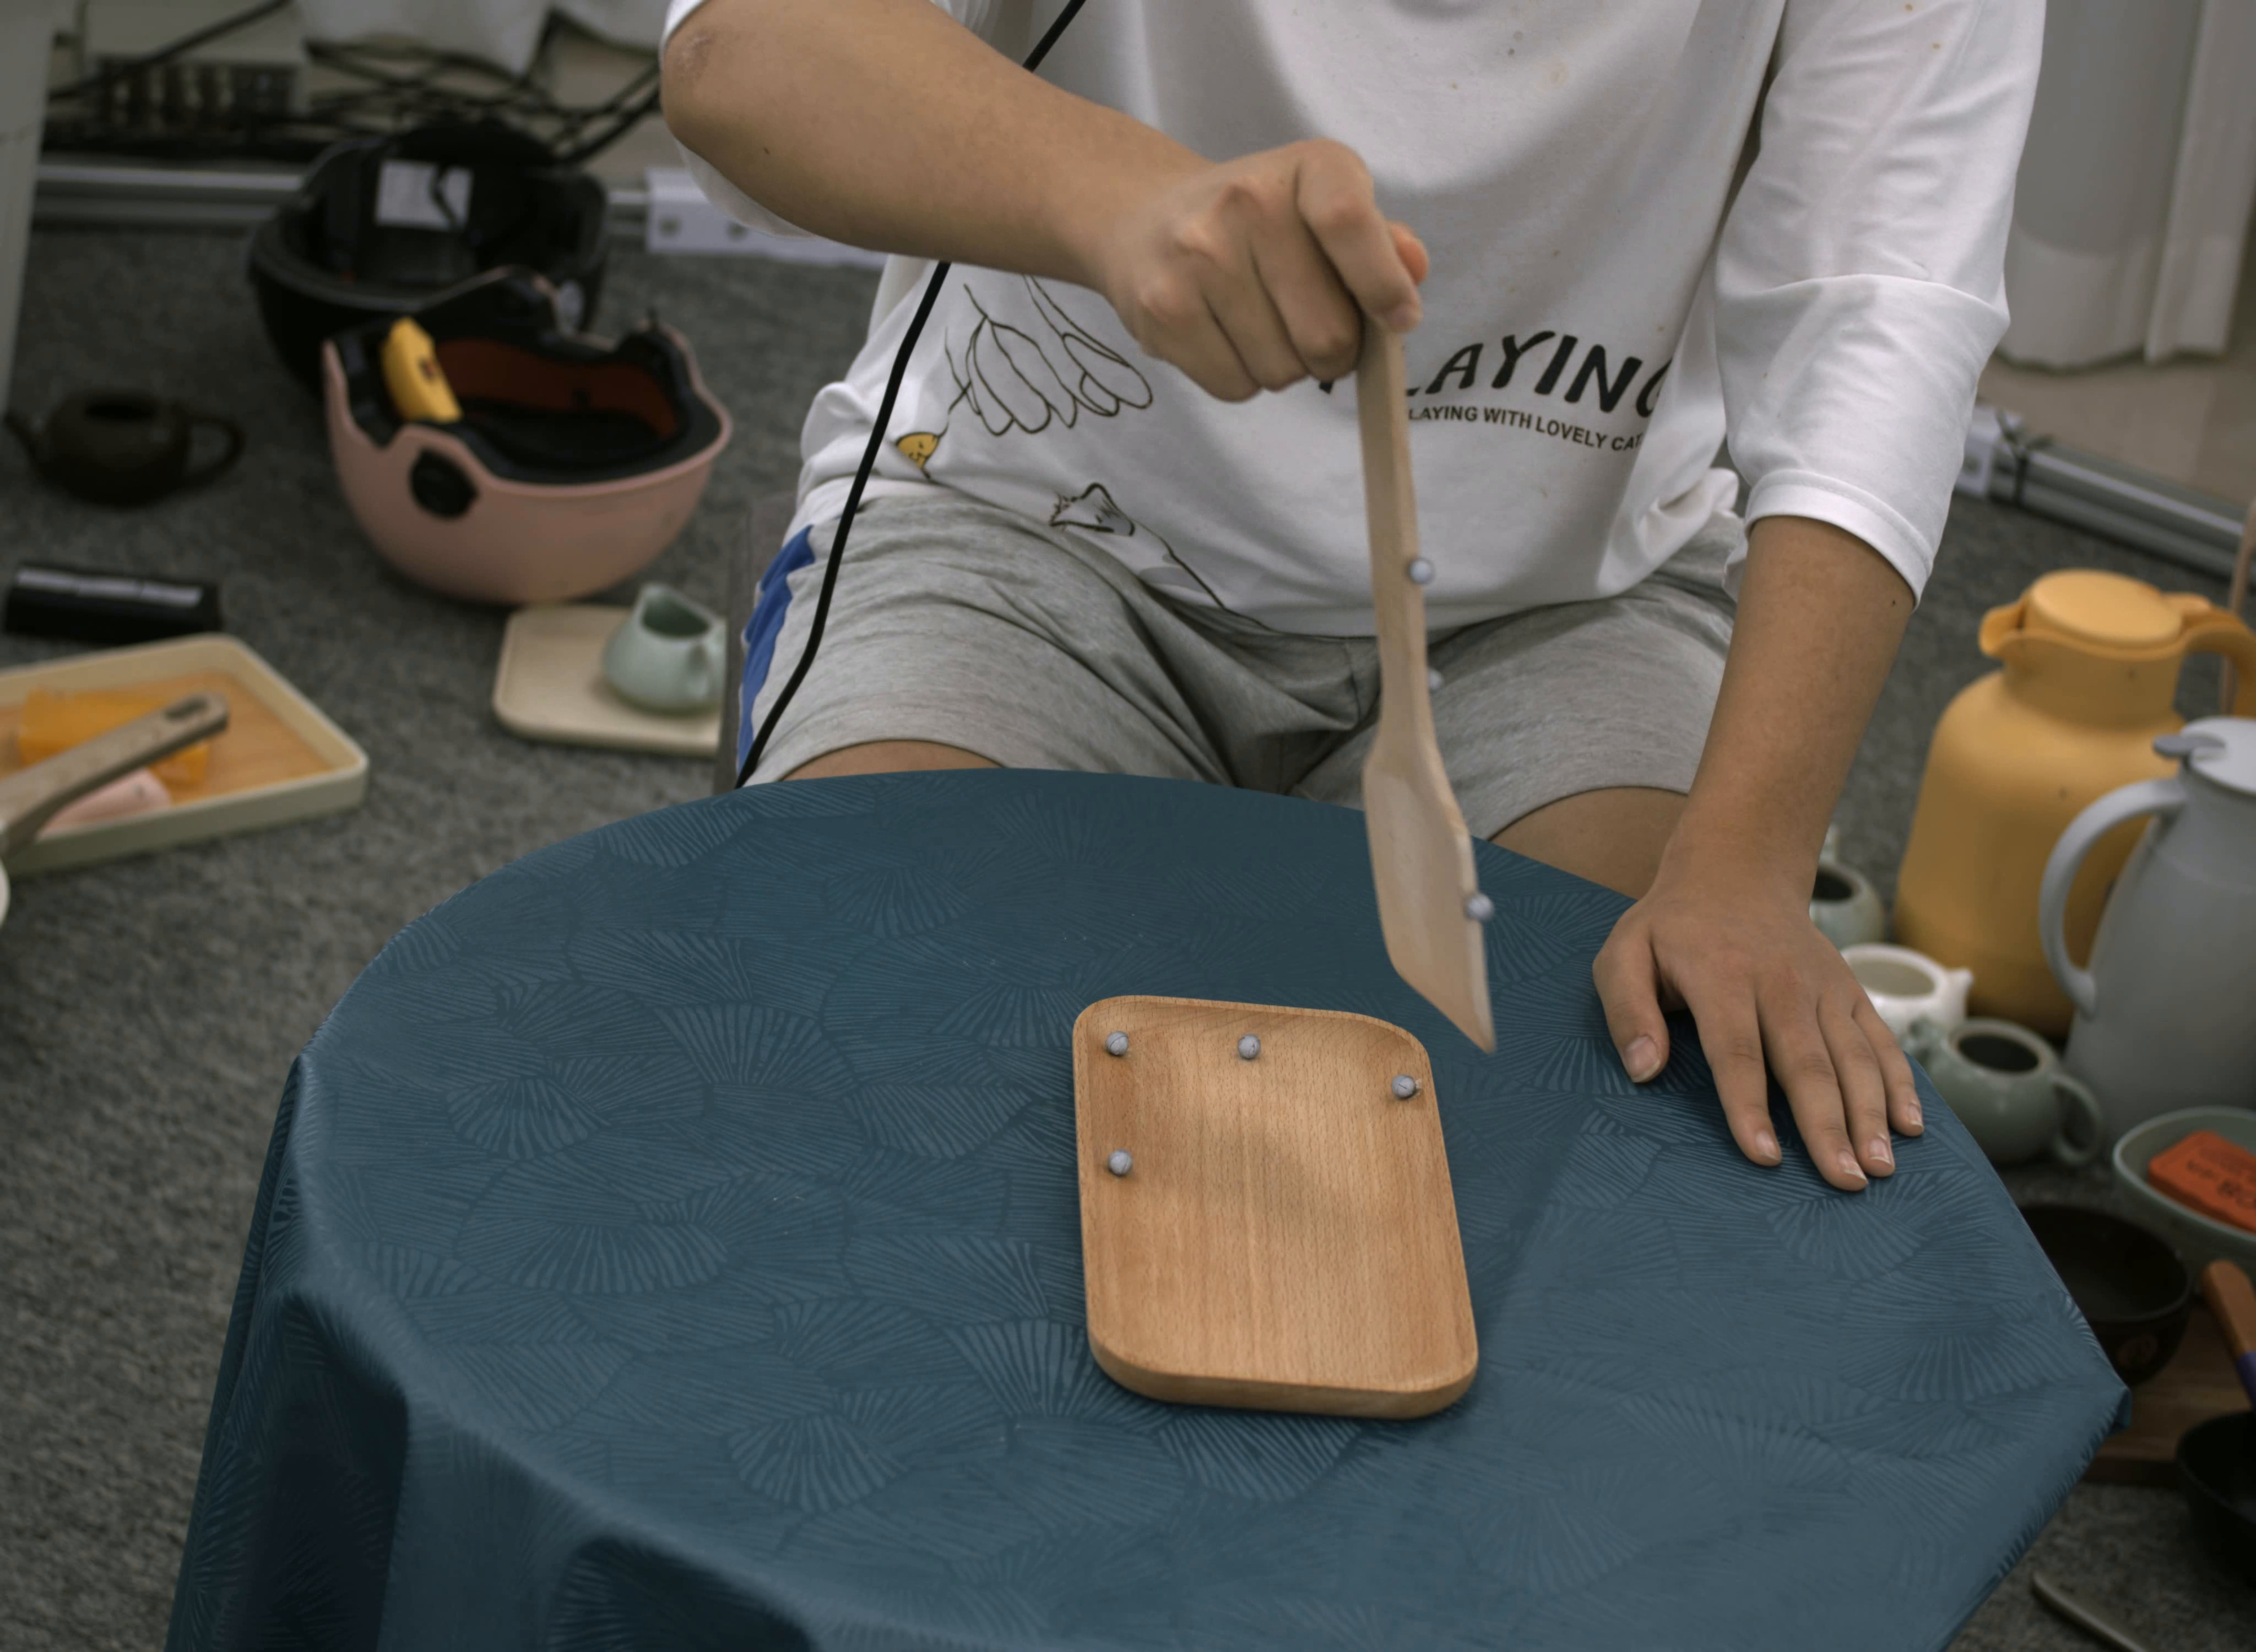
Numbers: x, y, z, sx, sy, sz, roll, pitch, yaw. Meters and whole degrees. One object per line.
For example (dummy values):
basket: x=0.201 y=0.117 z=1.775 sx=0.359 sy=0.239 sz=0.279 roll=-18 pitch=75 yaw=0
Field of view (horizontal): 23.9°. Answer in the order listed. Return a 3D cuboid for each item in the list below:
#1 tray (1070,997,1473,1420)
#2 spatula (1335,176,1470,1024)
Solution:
tray: x=0.045 y=0.126 z=1.794 sx=0.130 sy=0.023 sz=0.252 roll=3 pitch=27 yaw=-2
spatula: x=0.084 y=-0.072 z=1.718 sx=0.010 sy=0.292 sz=0.073 roll=-16 pitch=30 yaw=-18
